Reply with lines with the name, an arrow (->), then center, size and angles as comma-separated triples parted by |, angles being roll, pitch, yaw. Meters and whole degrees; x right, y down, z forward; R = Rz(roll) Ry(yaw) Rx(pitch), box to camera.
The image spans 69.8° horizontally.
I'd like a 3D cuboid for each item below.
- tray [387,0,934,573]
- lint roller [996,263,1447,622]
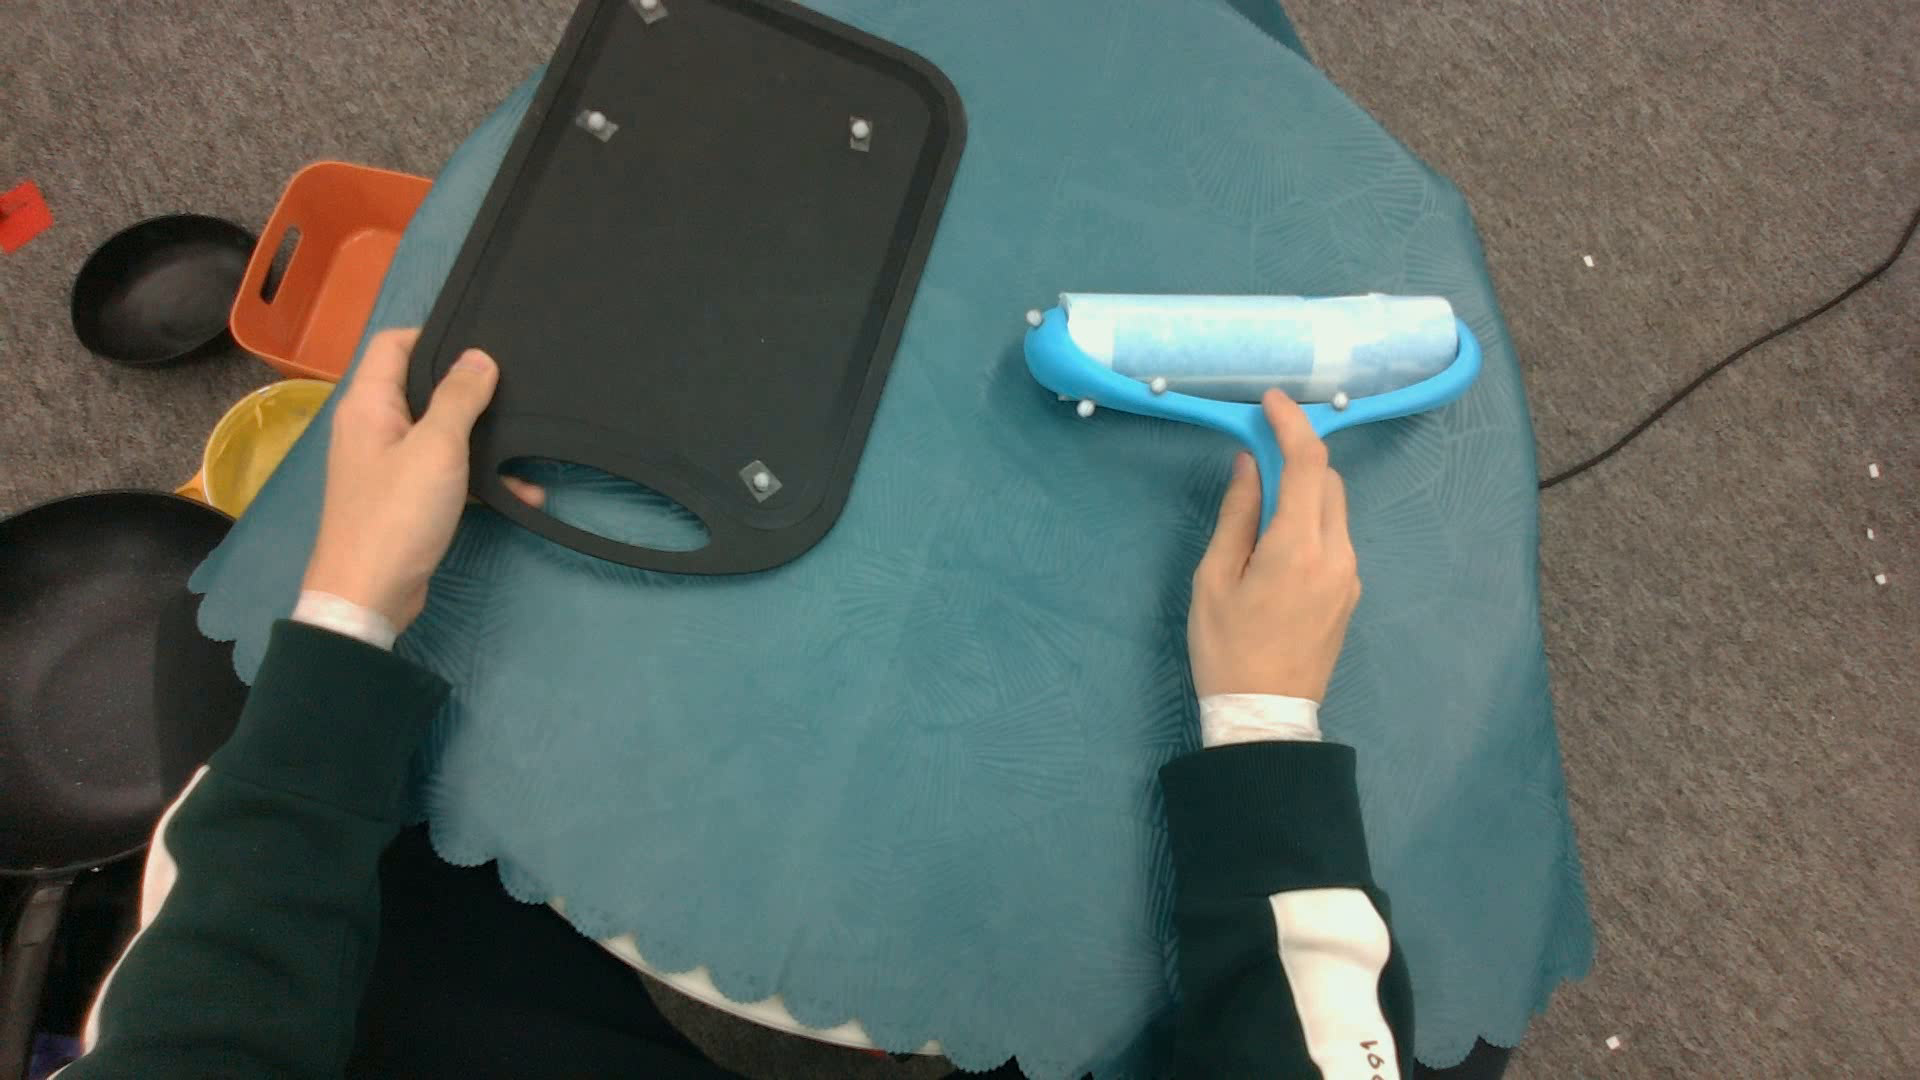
tray -> -0.141, -0.141, 0.687 | 0.211, 0.010, 0.326 | 18, 70, -8
lint roller -> 0.139, -0.054, 0.676 | 0.229, 0.067, 0.180 | -4, 71, -9
